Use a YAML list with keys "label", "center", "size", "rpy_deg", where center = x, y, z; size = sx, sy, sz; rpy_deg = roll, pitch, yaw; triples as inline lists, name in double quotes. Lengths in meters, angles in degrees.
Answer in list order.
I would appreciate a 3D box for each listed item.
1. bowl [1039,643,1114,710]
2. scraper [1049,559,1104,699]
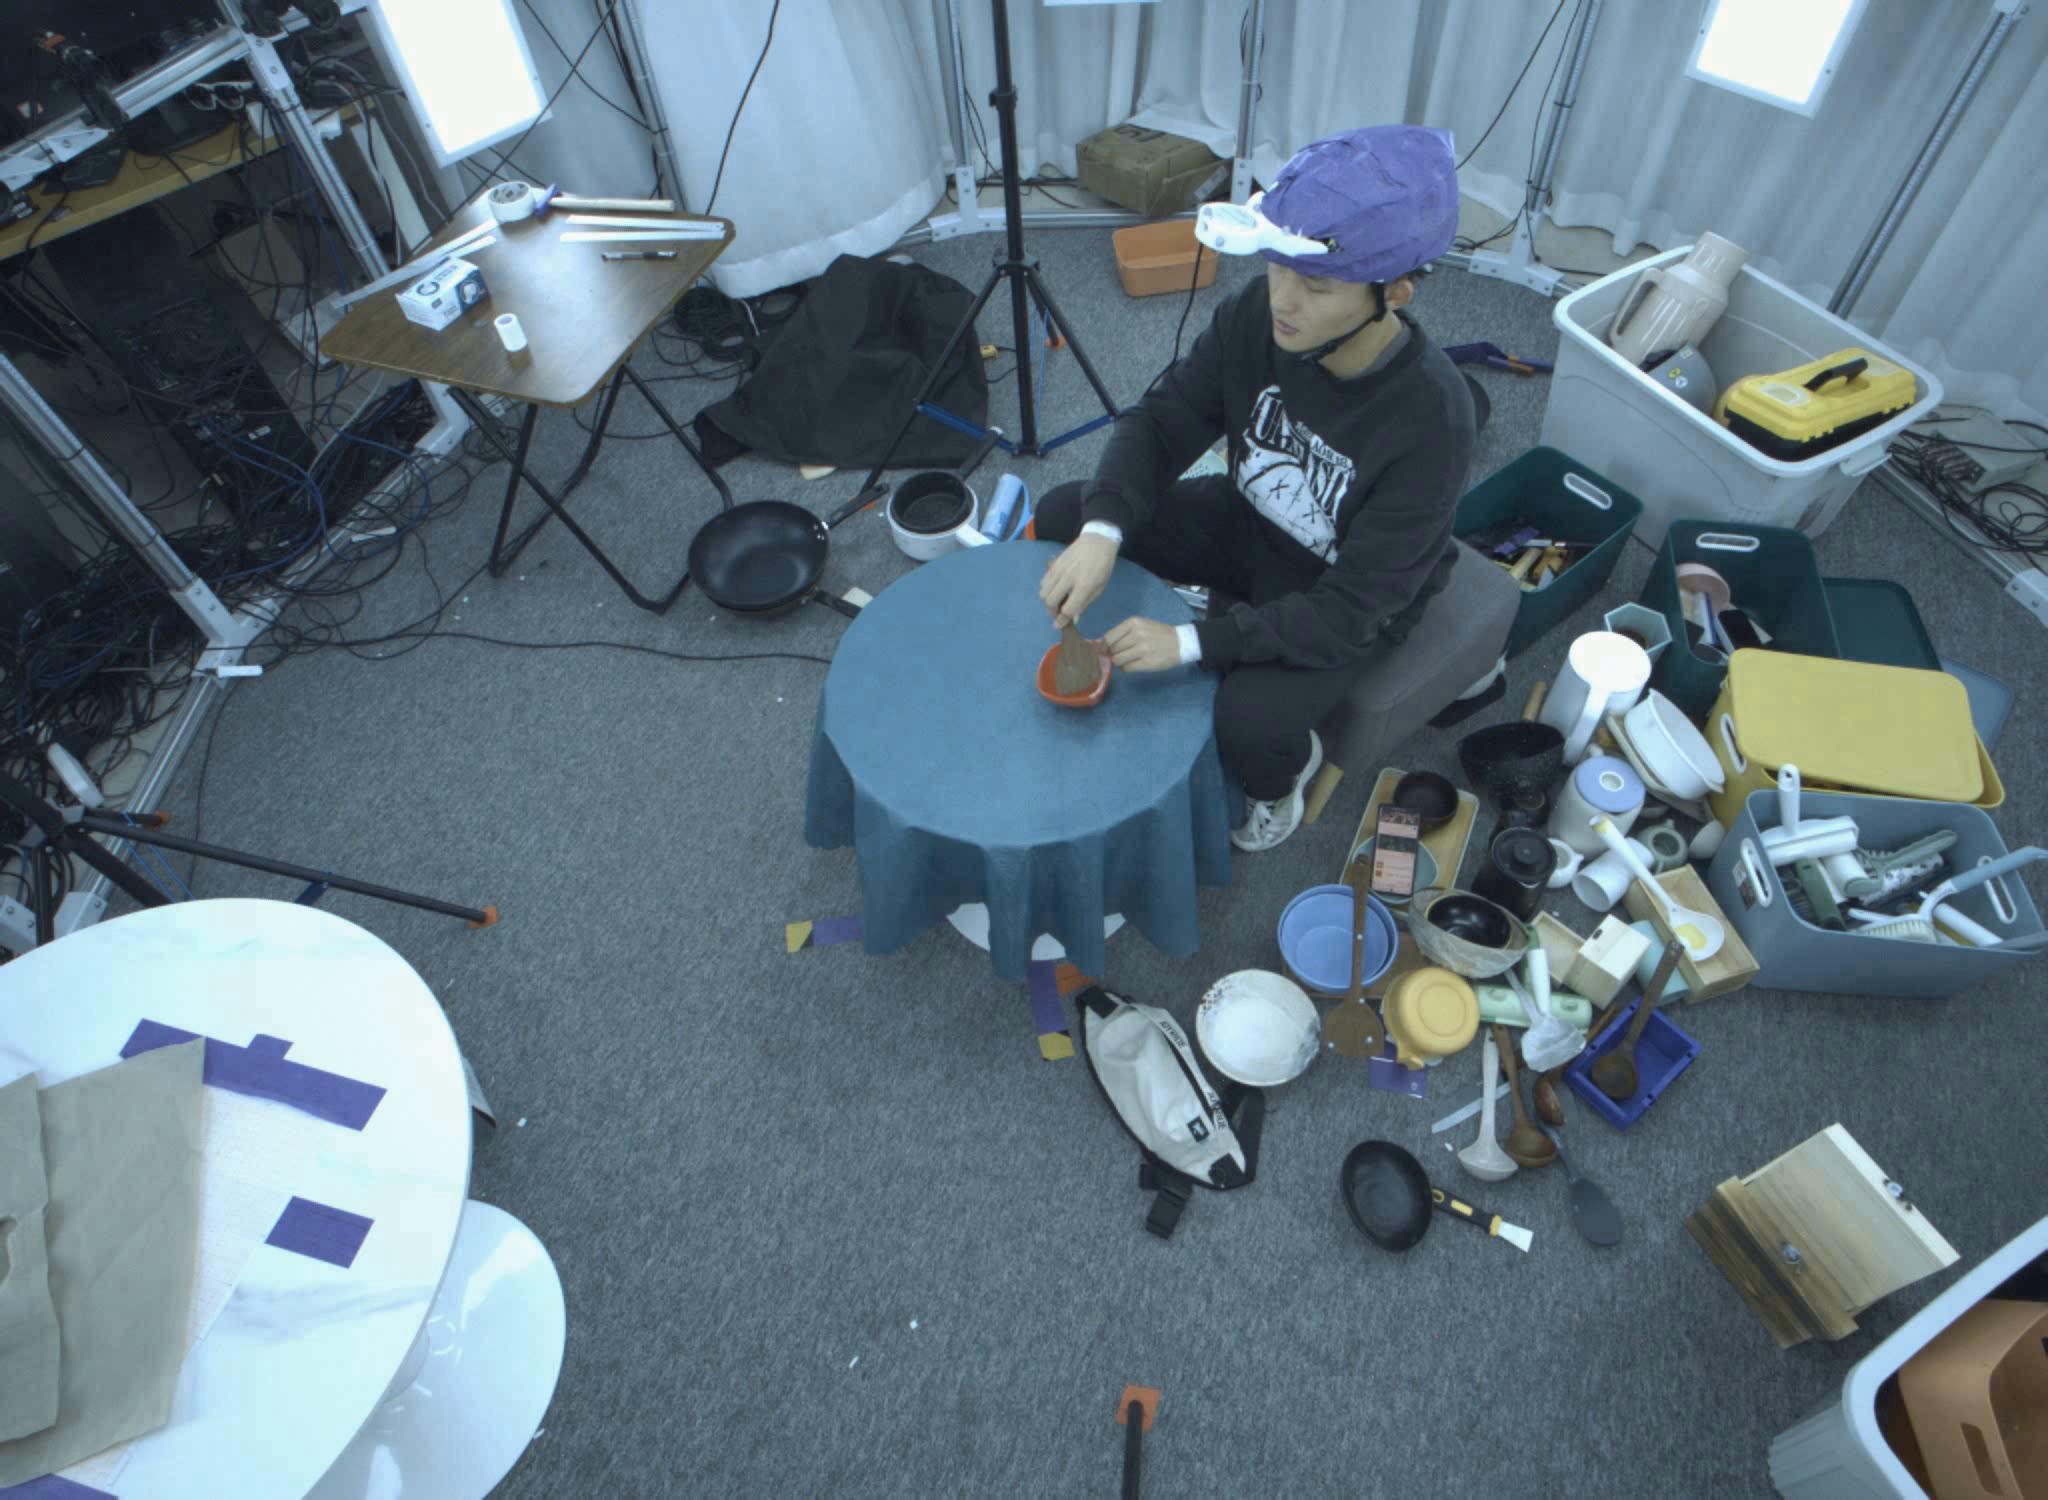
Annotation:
- label: "bowl"
  center: [0.083, -0.101, 1.828]
  size: [0.118, 0.052, 0.118]
  rpy_deg: [-8, 55, 14]
- label: "scraper"
  center: [0.066, -0.179, 1.794]
  size: [0.075, 0.011, 0.210]
  rpy_deg: [-16, 77, 26]
